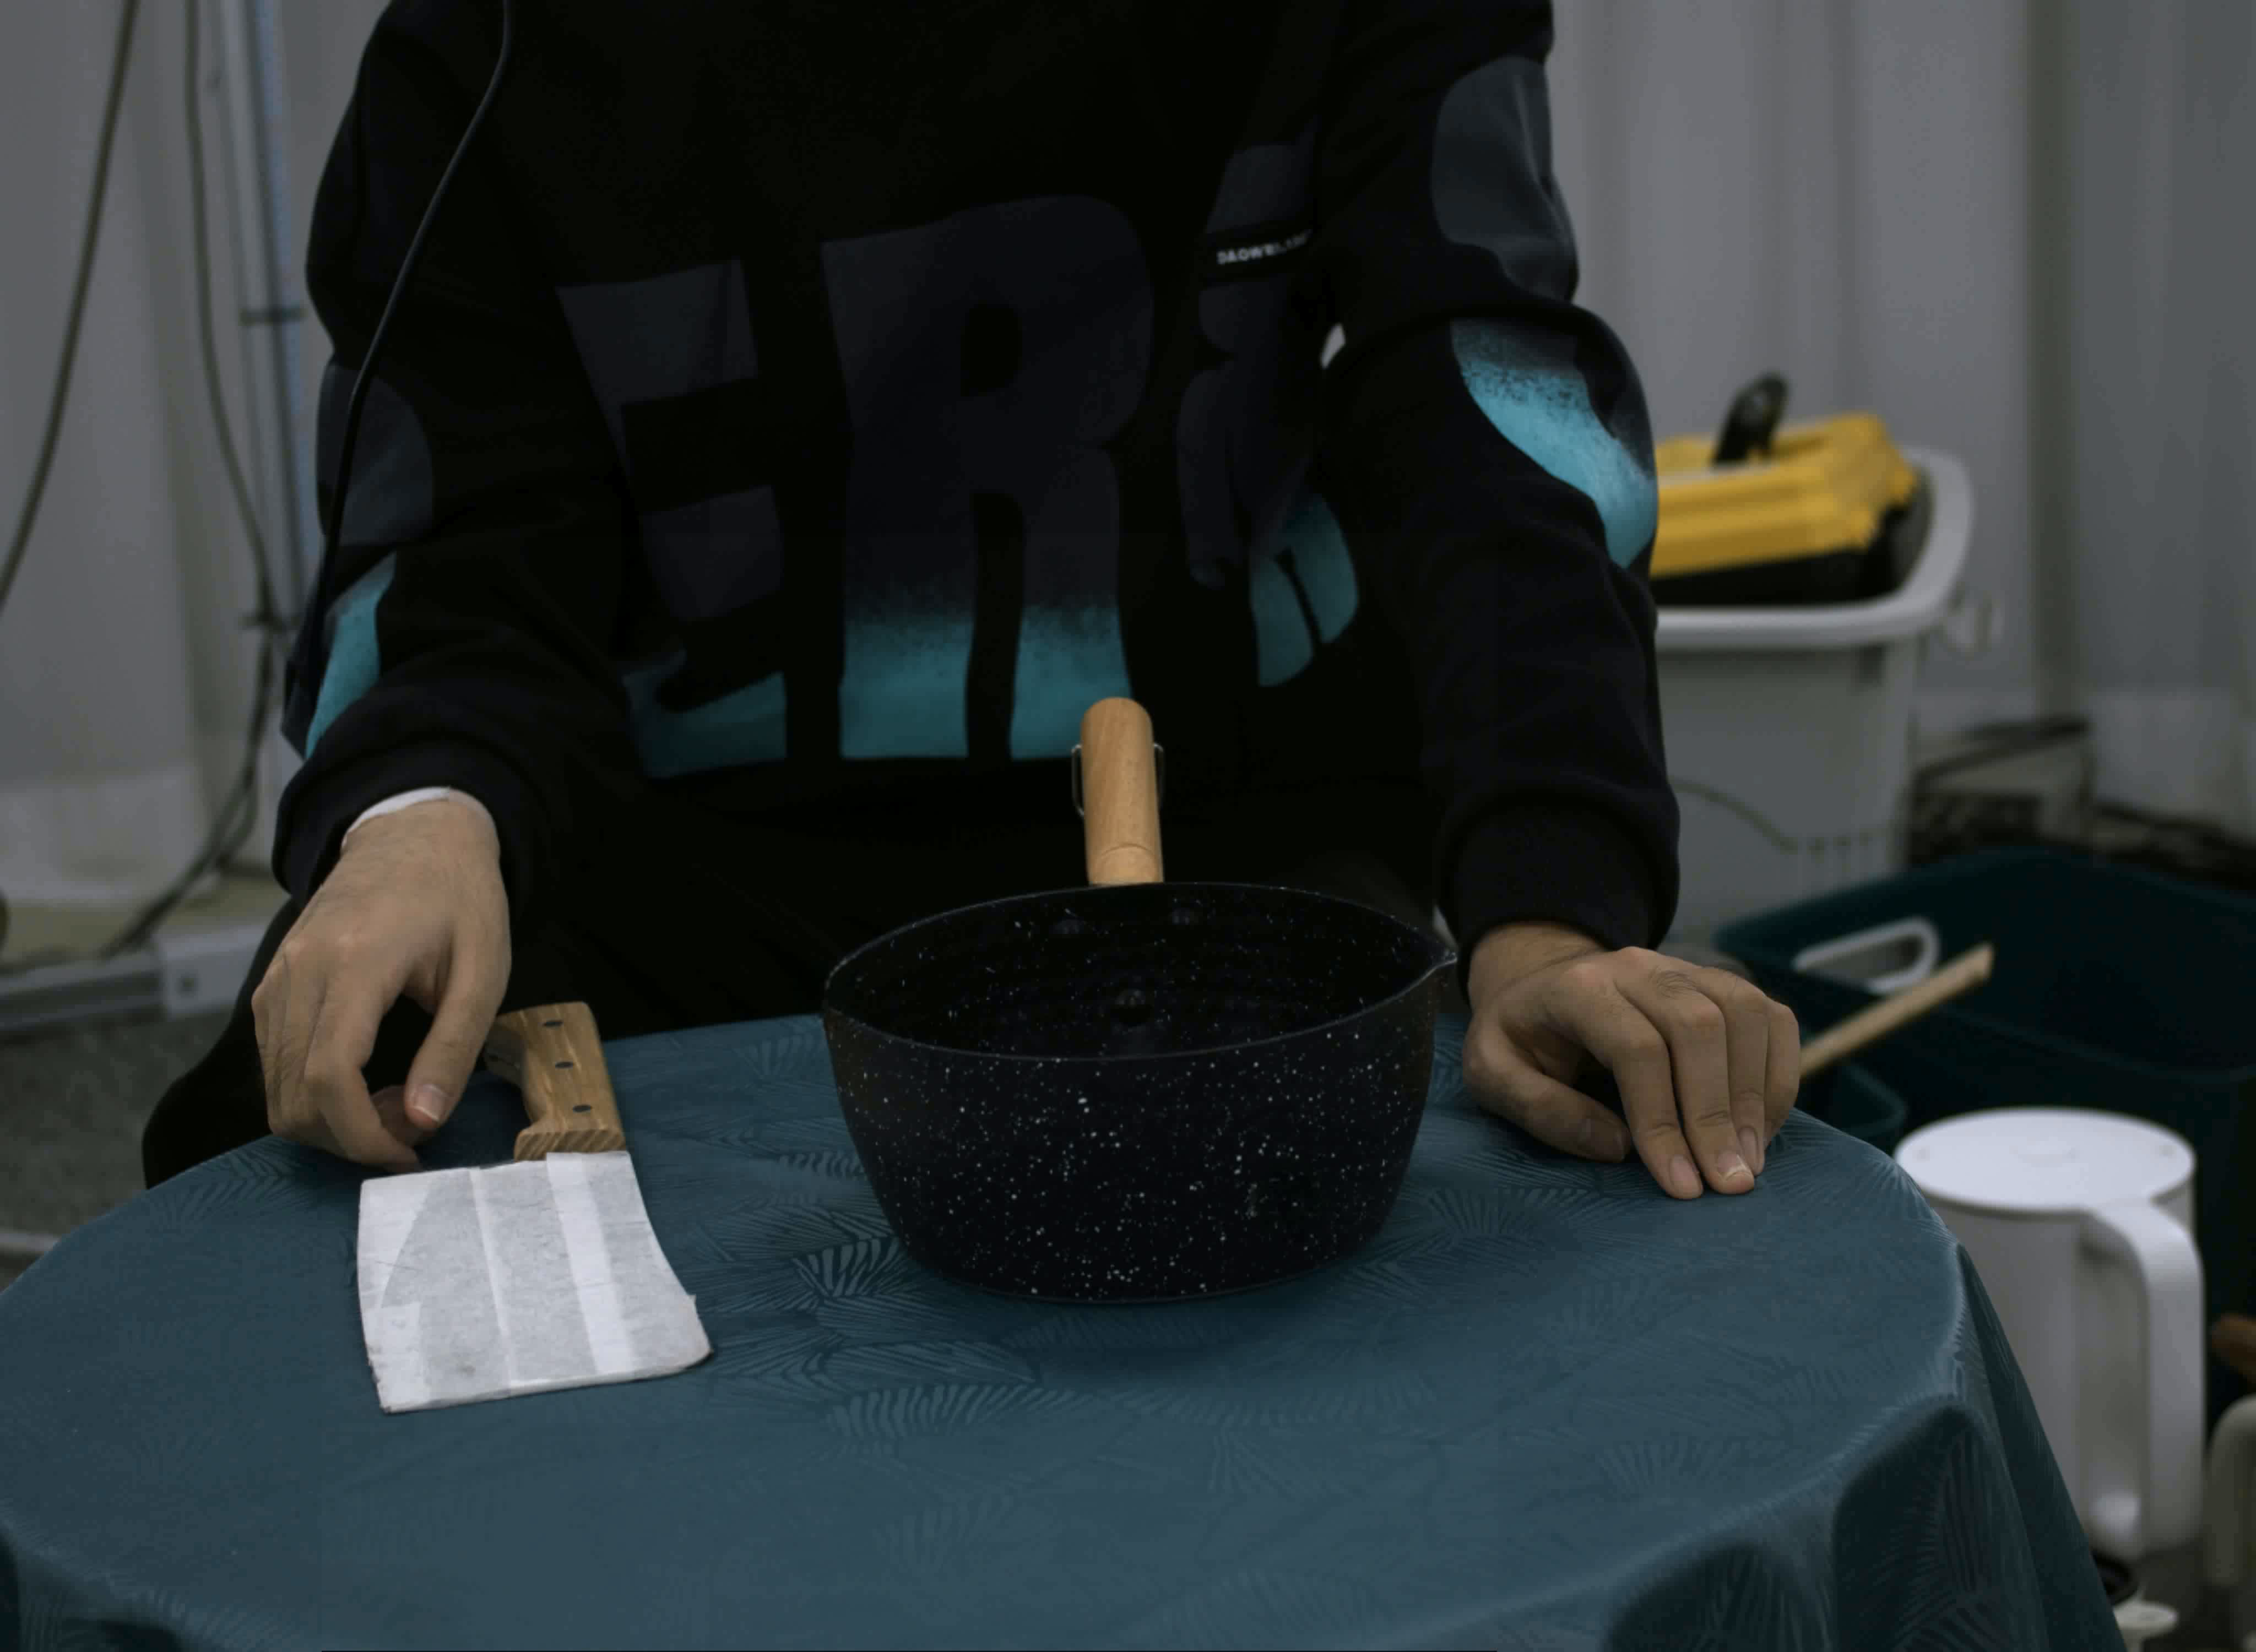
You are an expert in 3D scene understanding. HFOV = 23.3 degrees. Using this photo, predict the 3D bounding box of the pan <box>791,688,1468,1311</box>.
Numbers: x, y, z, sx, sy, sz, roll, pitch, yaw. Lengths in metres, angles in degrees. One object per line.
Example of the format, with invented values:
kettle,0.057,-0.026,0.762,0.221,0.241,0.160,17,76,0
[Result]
pan,-0.001,0.050,1.746,0.207,0.108,0.345,-4,16,-1

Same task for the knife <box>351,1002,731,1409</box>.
knife,-0.186,0.116,1.711,0.113,0.021,0.318,-5,18,-5
